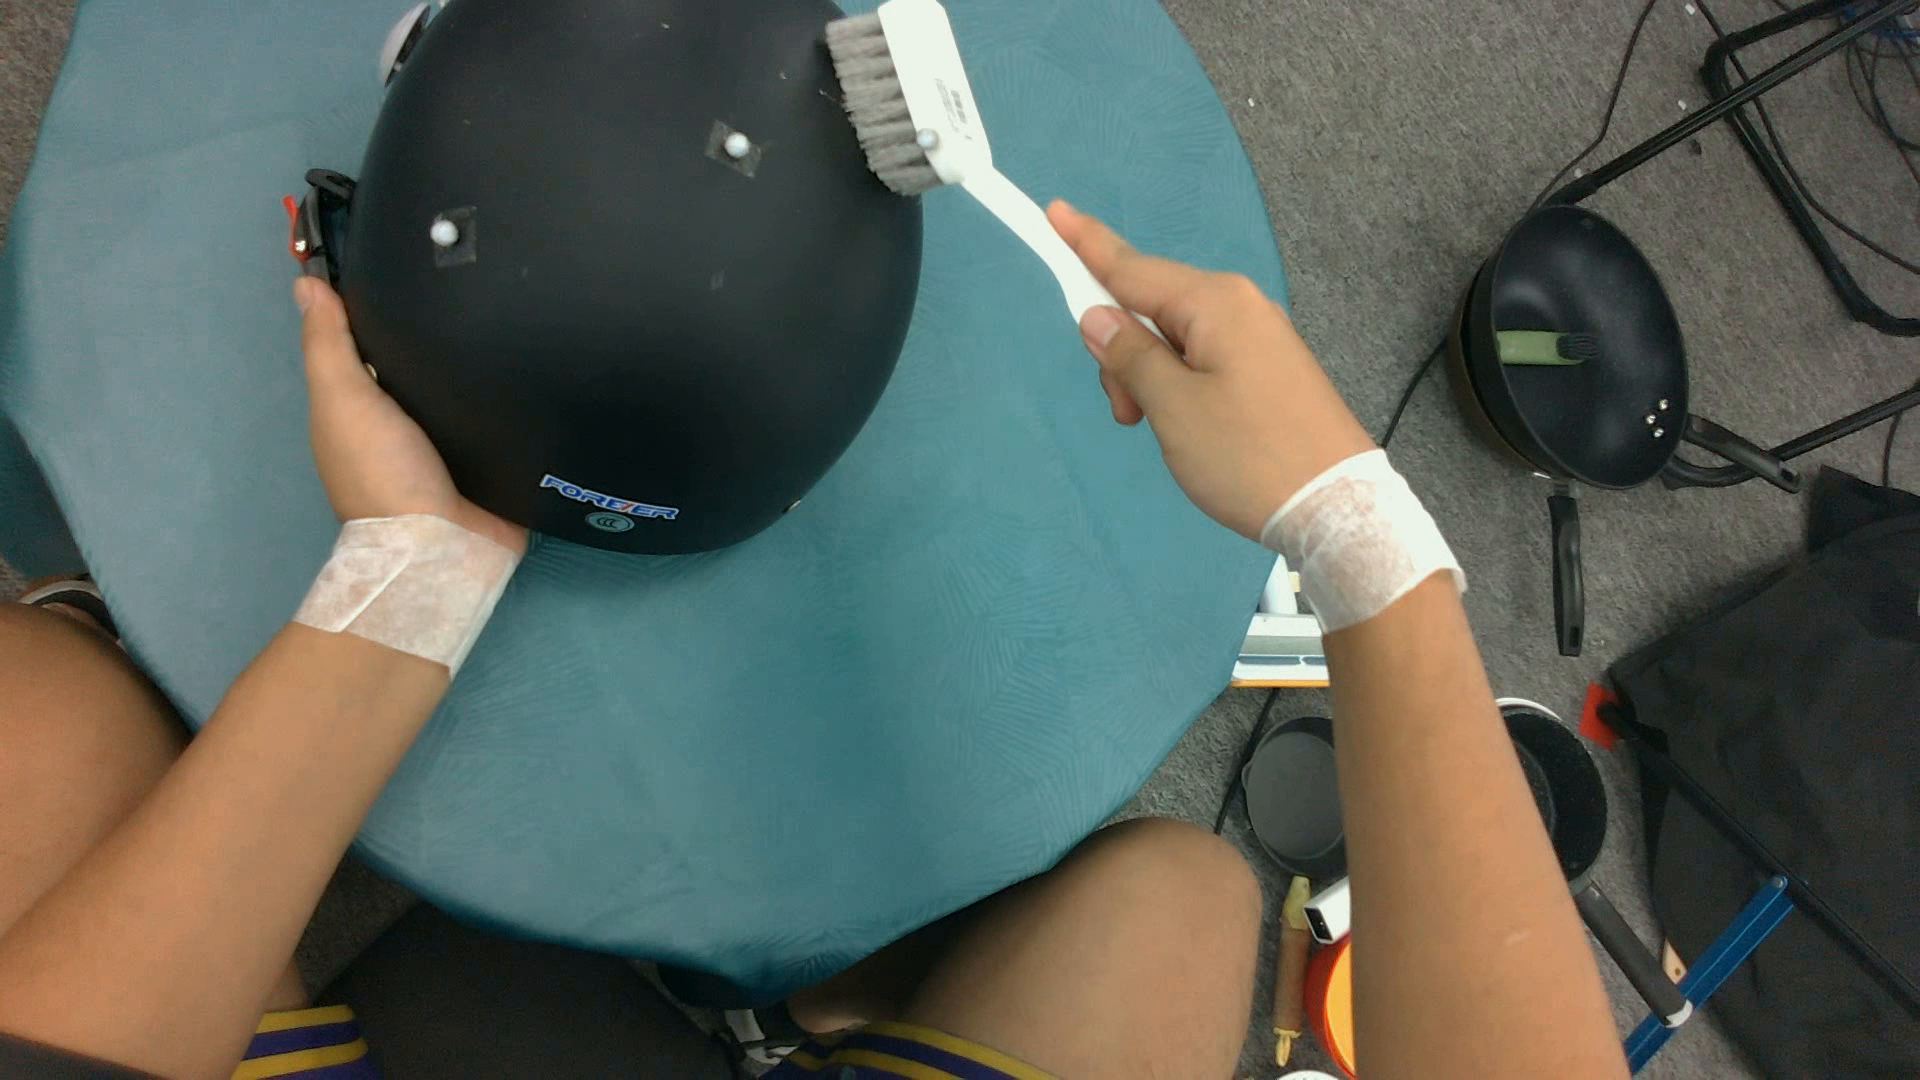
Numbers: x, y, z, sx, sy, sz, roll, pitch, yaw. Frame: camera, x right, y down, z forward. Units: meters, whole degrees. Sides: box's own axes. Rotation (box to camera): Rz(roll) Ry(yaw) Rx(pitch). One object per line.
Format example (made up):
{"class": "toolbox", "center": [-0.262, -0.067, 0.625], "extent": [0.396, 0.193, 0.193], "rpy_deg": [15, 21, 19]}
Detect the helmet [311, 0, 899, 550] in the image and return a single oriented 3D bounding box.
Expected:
{"class": "helmet", "center": [-0.124, -0.138, 0.551], "extent": [0.230, 0.166, 0.274], "rpy_deg": [21, 68, -27]}

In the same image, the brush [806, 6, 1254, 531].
{"class": "brush", "center": [0.021, -0.094, 0.511], "extent": [0.244, 0.050, 0.034], "rpy_deg": [55, 27, 5]}
